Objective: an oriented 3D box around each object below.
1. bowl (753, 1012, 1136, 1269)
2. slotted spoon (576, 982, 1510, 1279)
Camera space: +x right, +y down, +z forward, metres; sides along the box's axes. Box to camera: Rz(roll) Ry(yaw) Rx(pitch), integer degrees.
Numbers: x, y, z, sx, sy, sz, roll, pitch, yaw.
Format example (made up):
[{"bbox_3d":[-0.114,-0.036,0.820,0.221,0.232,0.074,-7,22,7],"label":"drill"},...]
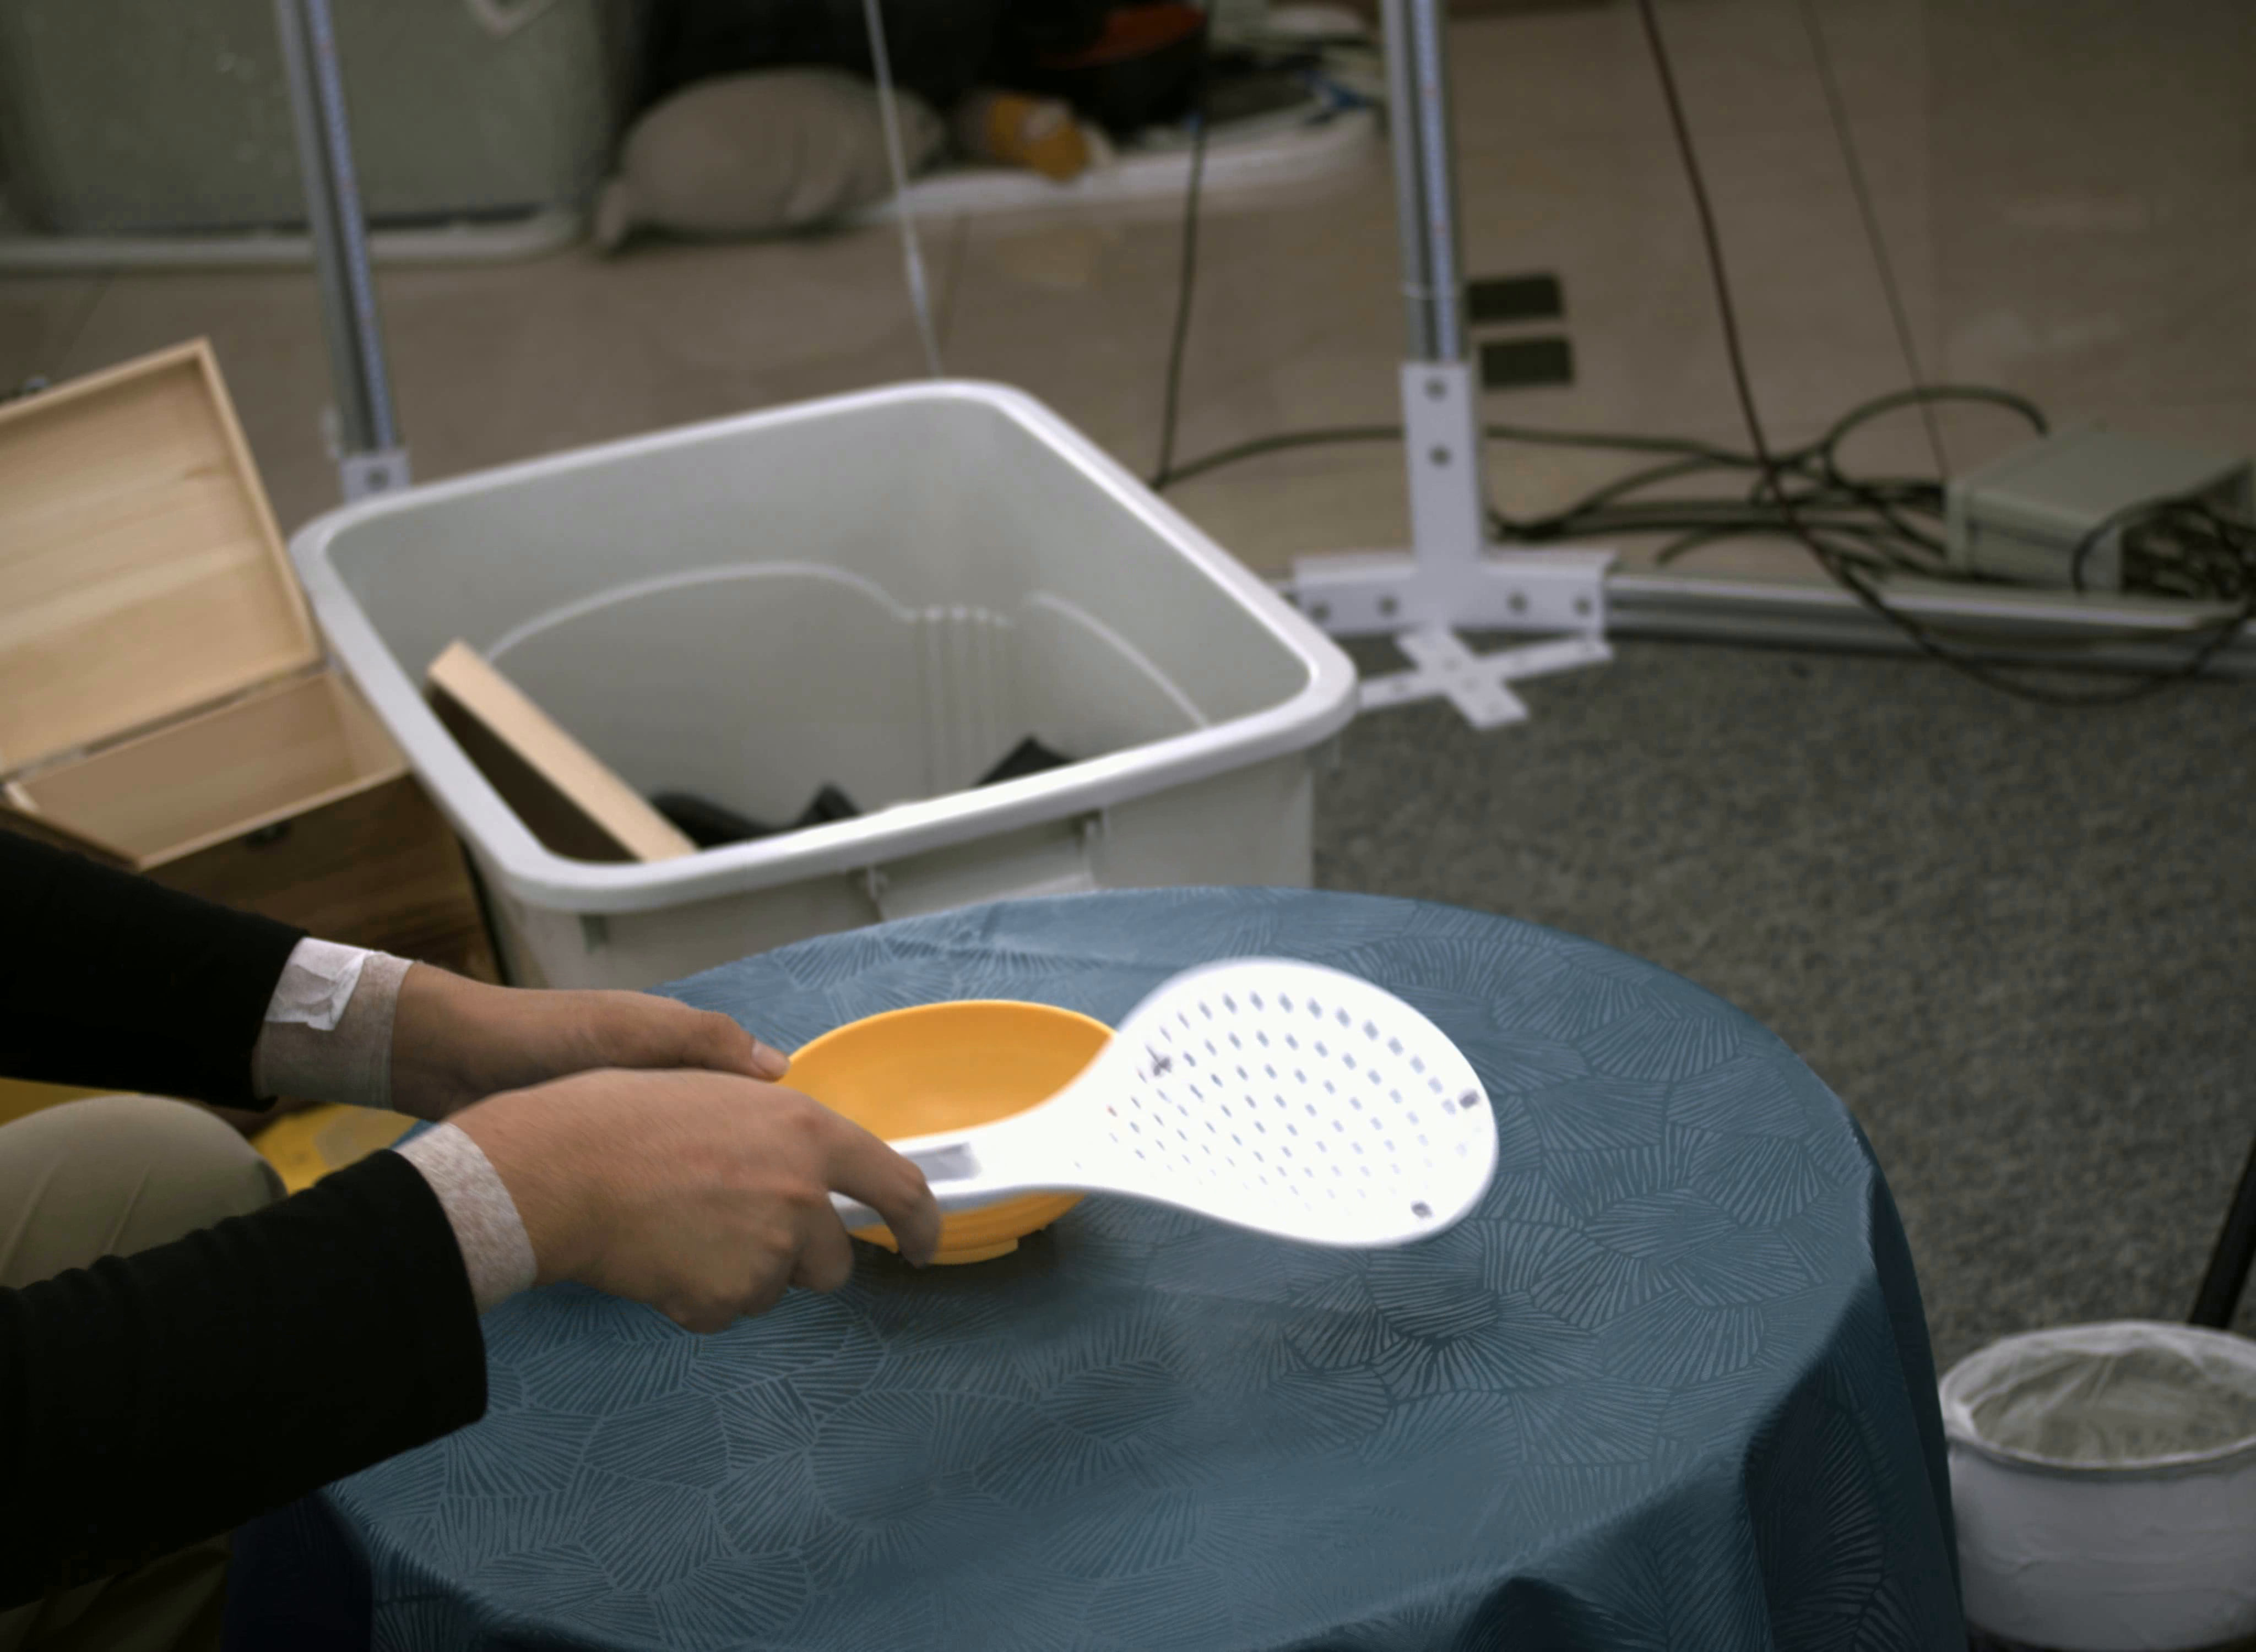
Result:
[{"bbox_3d":[-0.066,0.125,2.127,0.145,0.061,0.143,-4,23,2],"label":"bowl"},{"bbox_3d":[-0.027,0.121,1.964,0.349,0.046,0.134,-3,46,-31],"label":"slotted spoon"}]
